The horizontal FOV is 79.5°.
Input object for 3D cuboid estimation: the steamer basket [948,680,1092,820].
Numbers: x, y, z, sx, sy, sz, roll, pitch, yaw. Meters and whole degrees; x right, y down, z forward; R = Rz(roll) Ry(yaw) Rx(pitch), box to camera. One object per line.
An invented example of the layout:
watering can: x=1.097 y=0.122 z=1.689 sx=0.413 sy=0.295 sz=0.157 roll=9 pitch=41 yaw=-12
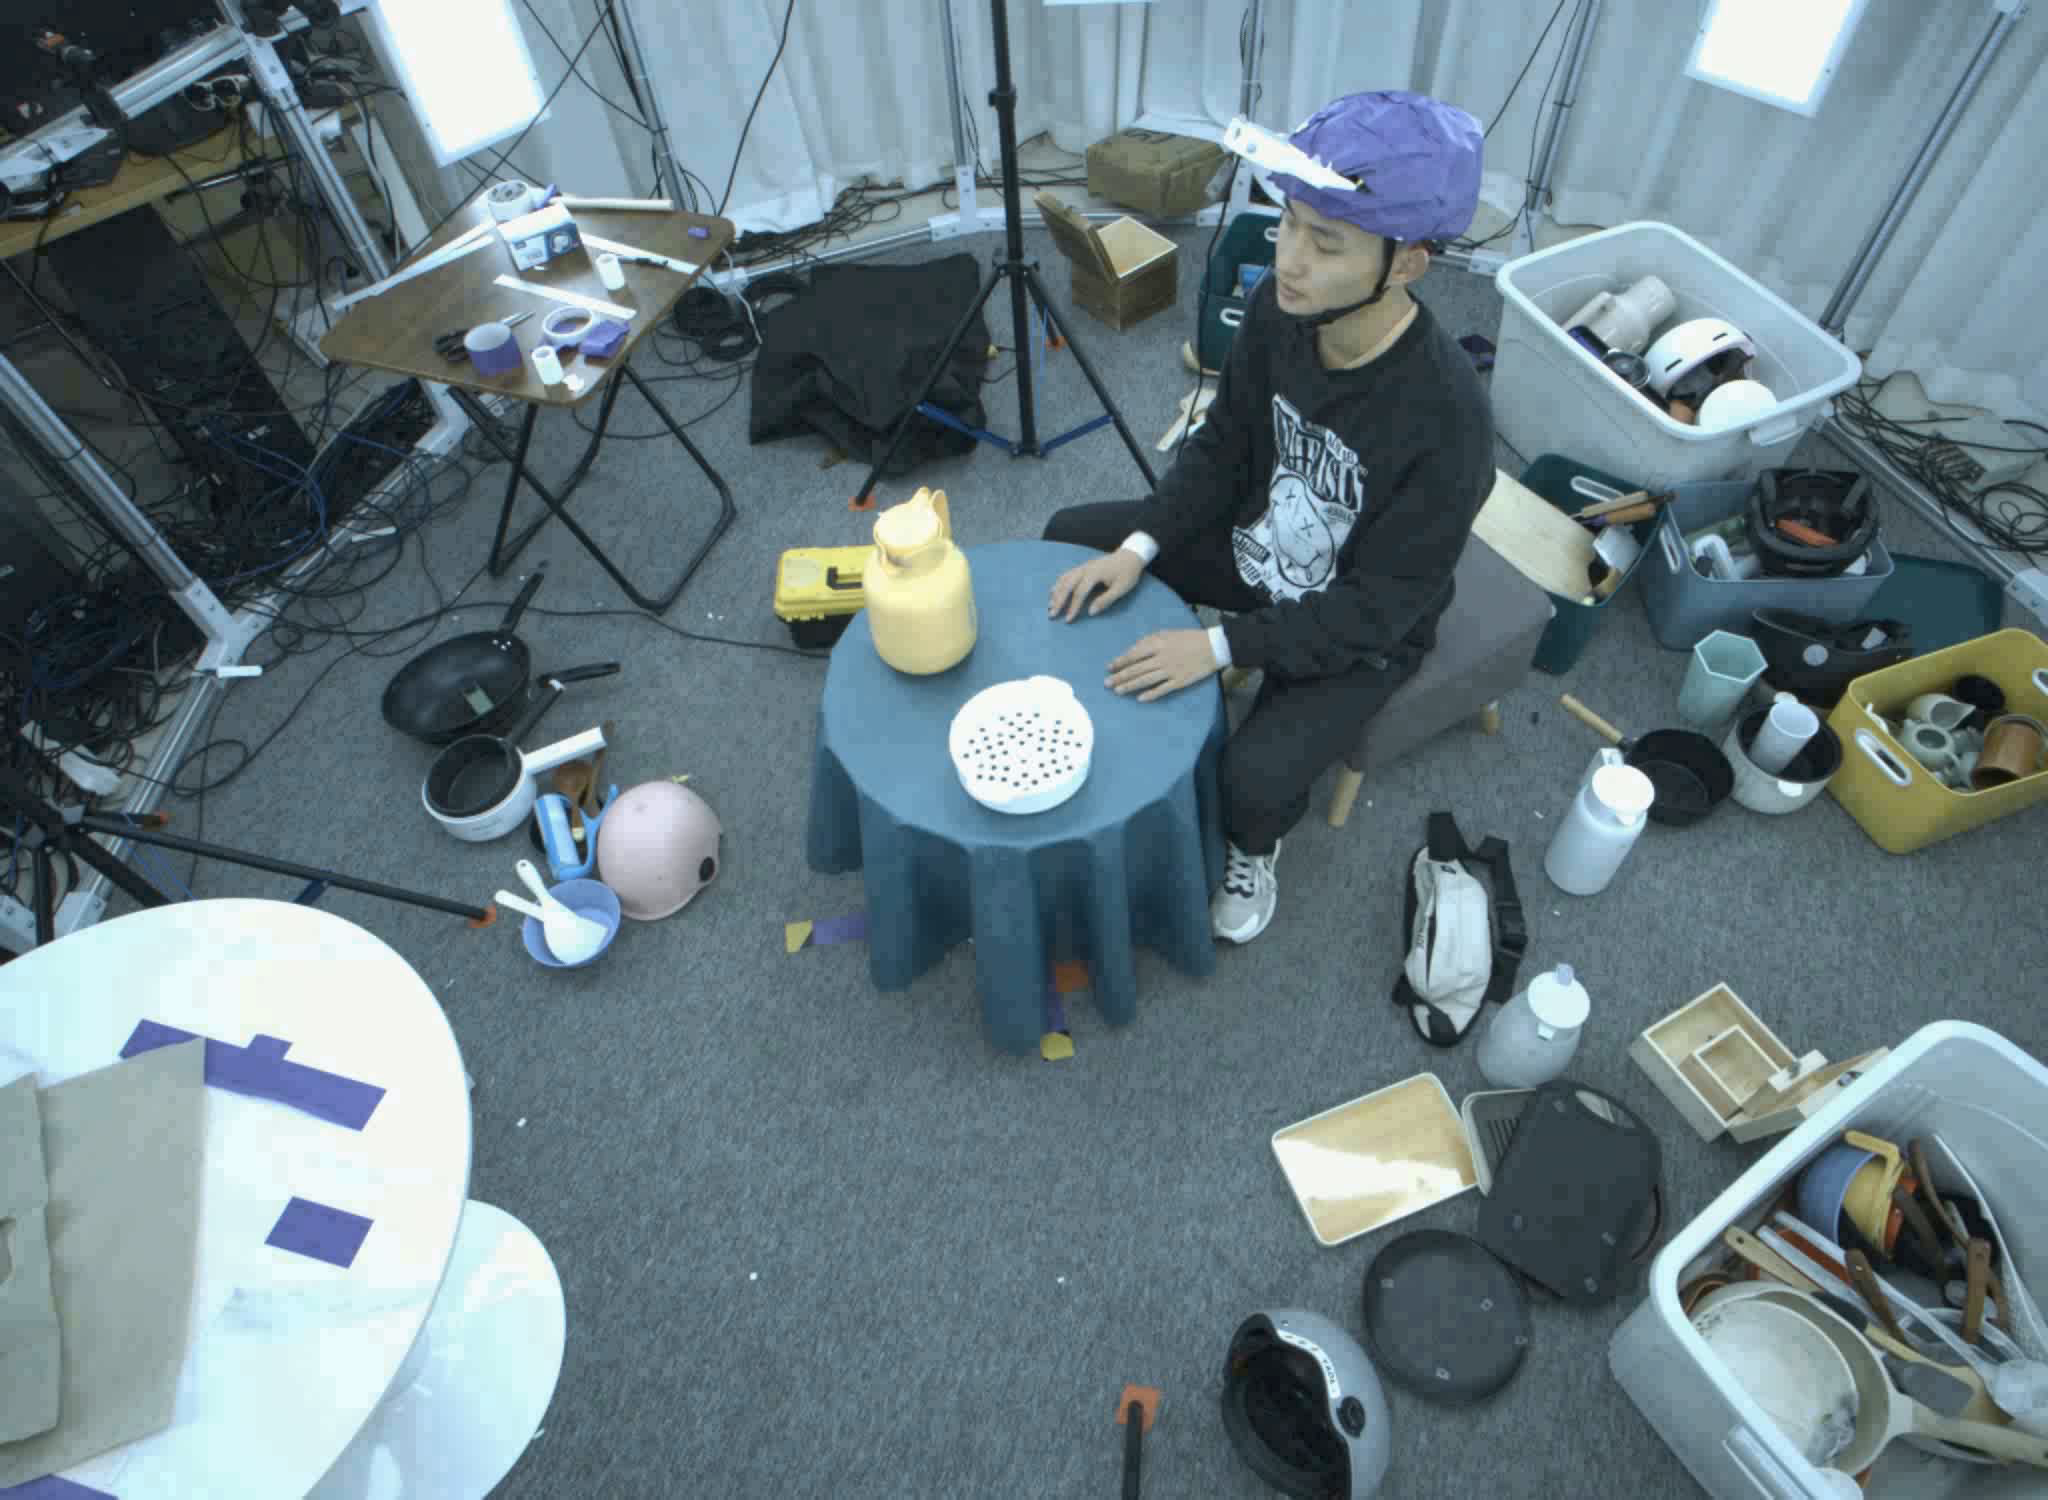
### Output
steamer basket: x=-0.004 y=0.005 z=1.743 sx=0.199 sy=0.070 sz=0.231 roll=19 pitch=57 yaw=16

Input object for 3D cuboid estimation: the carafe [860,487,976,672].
carafe: x=-0.152 y=-0.259 z=1.810 sx=0.162 sy=0.263 sz=0.202 roll=15 pitch=58 yaw=11
